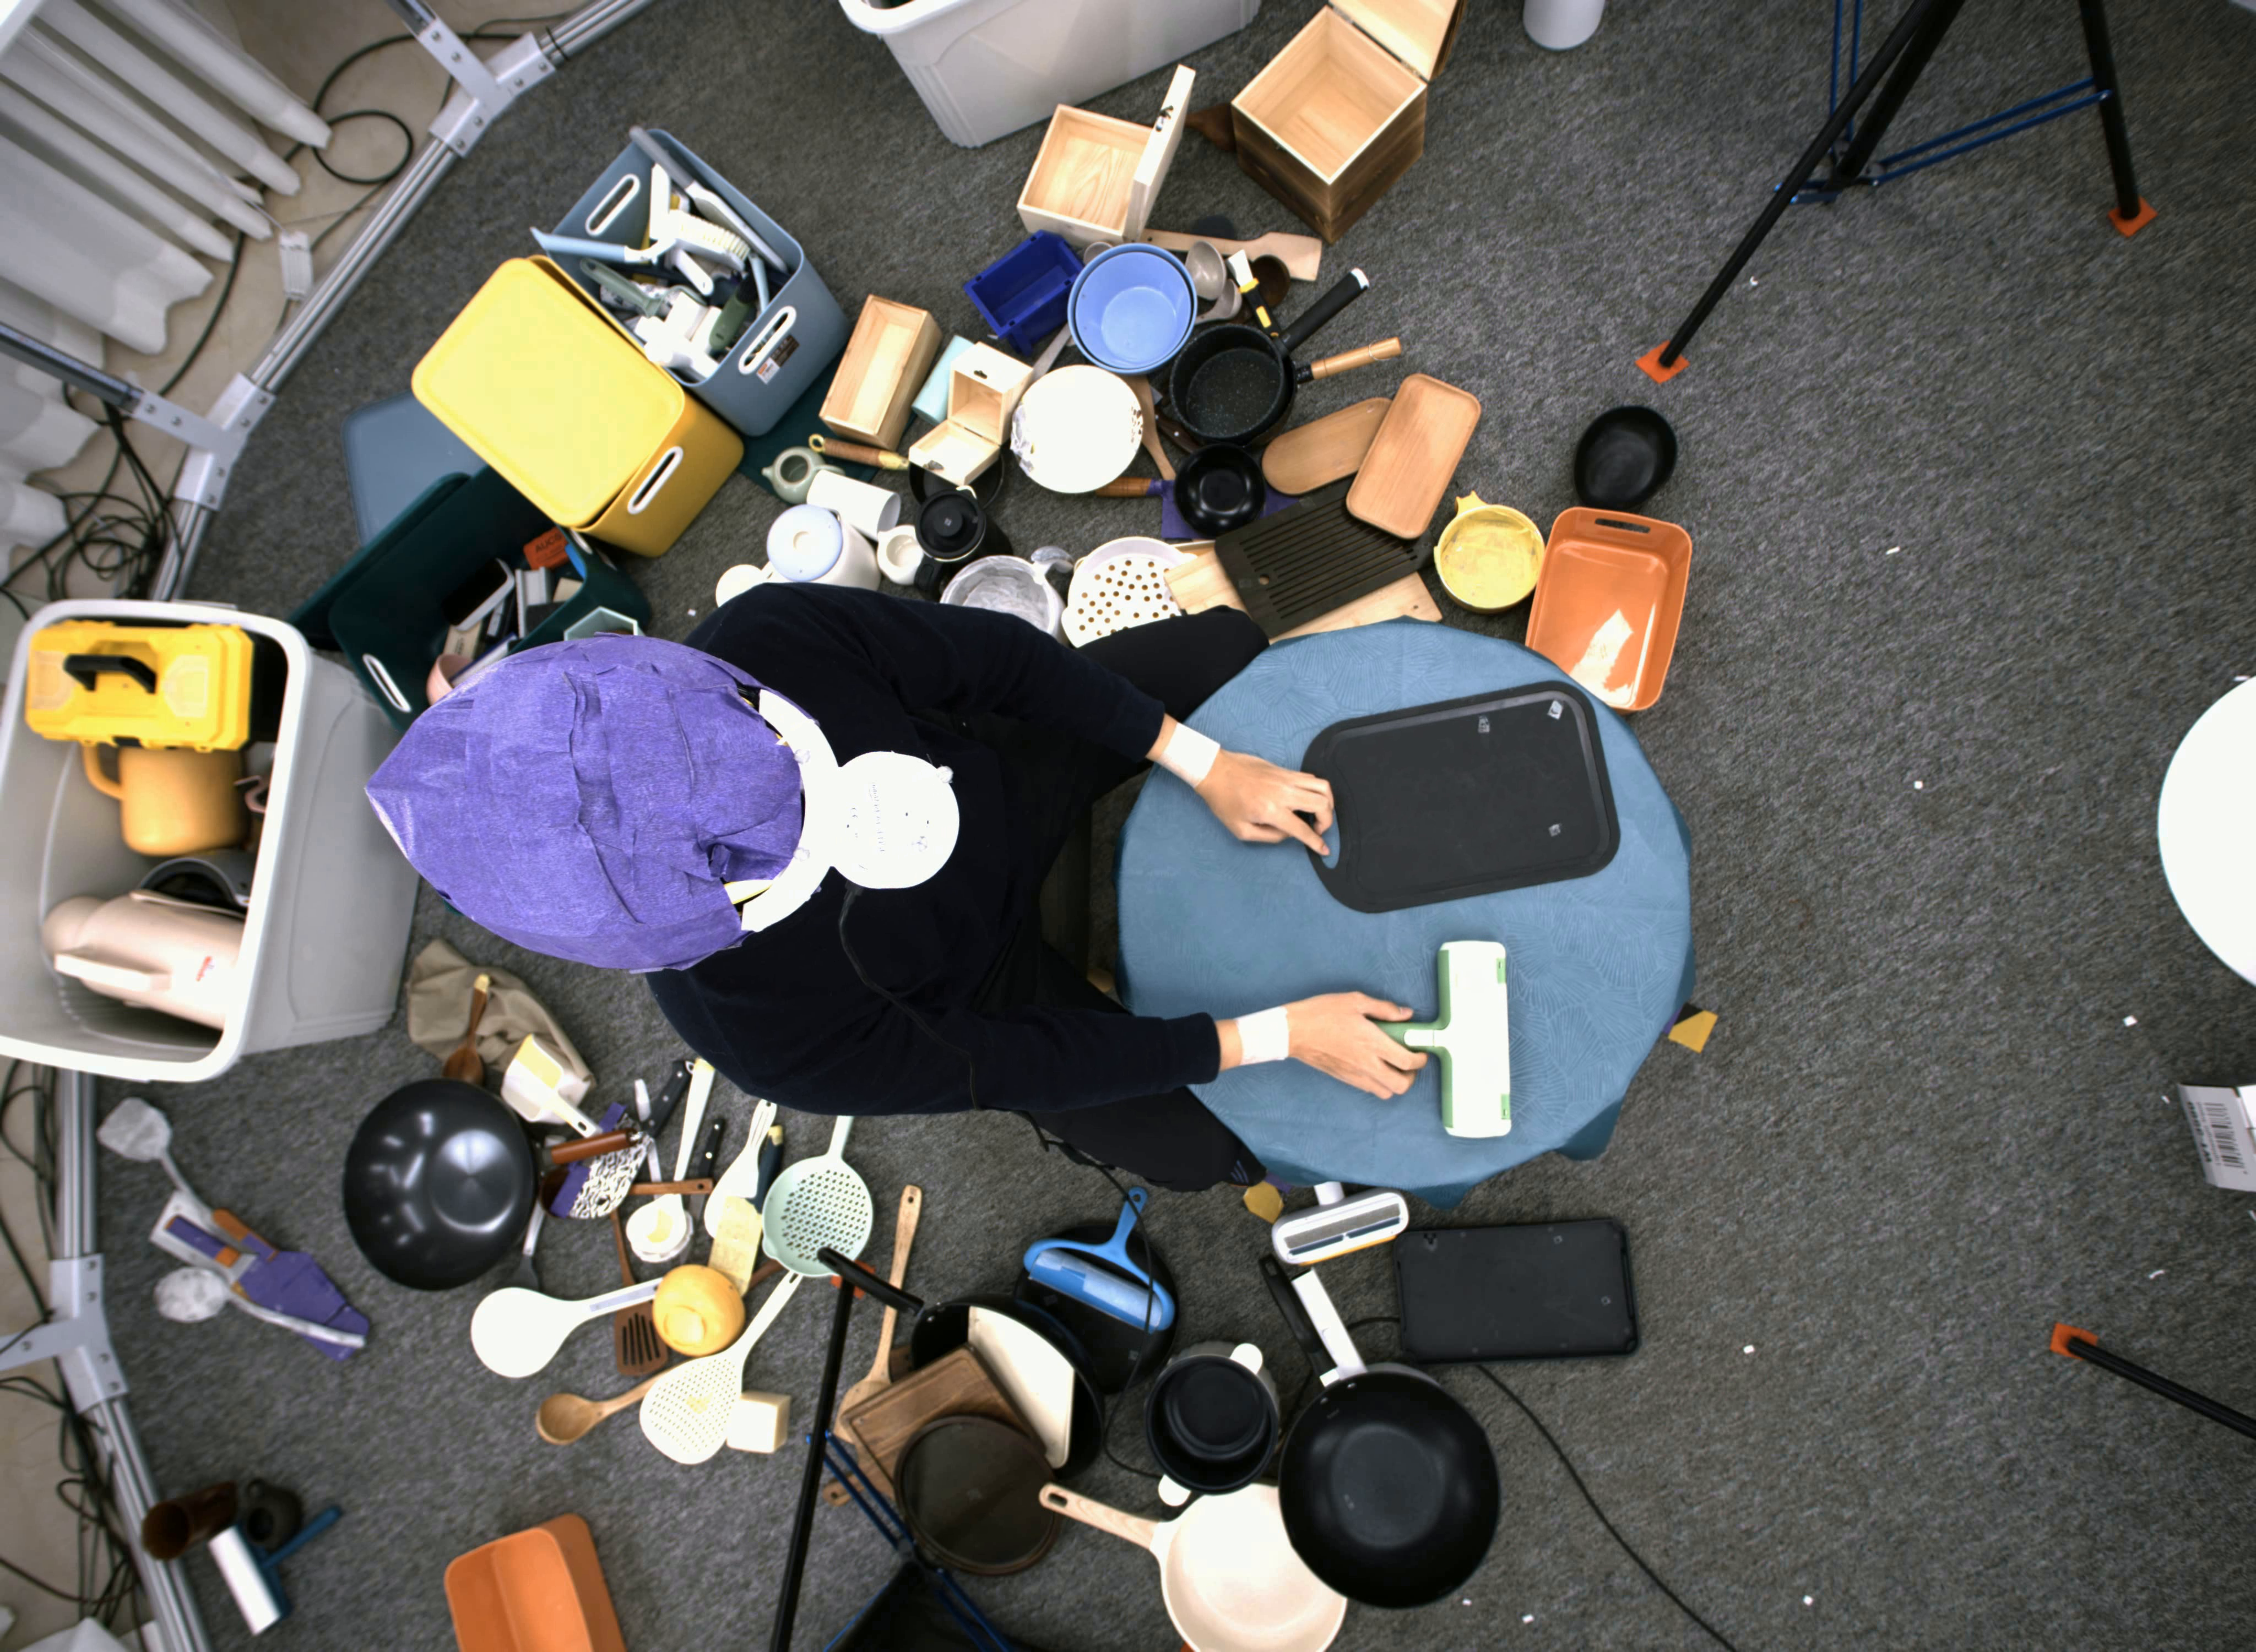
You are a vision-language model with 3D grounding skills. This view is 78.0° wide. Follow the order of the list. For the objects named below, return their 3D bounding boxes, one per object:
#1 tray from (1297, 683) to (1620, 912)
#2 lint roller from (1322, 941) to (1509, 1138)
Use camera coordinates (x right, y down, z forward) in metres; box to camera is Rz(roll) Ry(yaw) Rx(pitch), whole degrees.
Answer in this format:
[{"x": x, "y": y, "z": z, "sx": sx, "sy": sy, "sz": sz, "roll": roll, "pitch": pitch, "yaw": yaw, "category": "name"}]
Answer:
[{"x": 0.342, "y": -0.029, "z": 1.449, "sx": 0.327, "sy": 0.010, "sz": 0.210, "roll": -10, "pitch": 85, "yaw": 10, "category": "tray"}, {"x": 0.292, "y": 0.215, "z": 1.404, "sx": 0.184, "sy": 0.082, "sz": 0.197, "roll": -1, "pitch": 85, "yaw": 4, "category": "lint roller"}]
